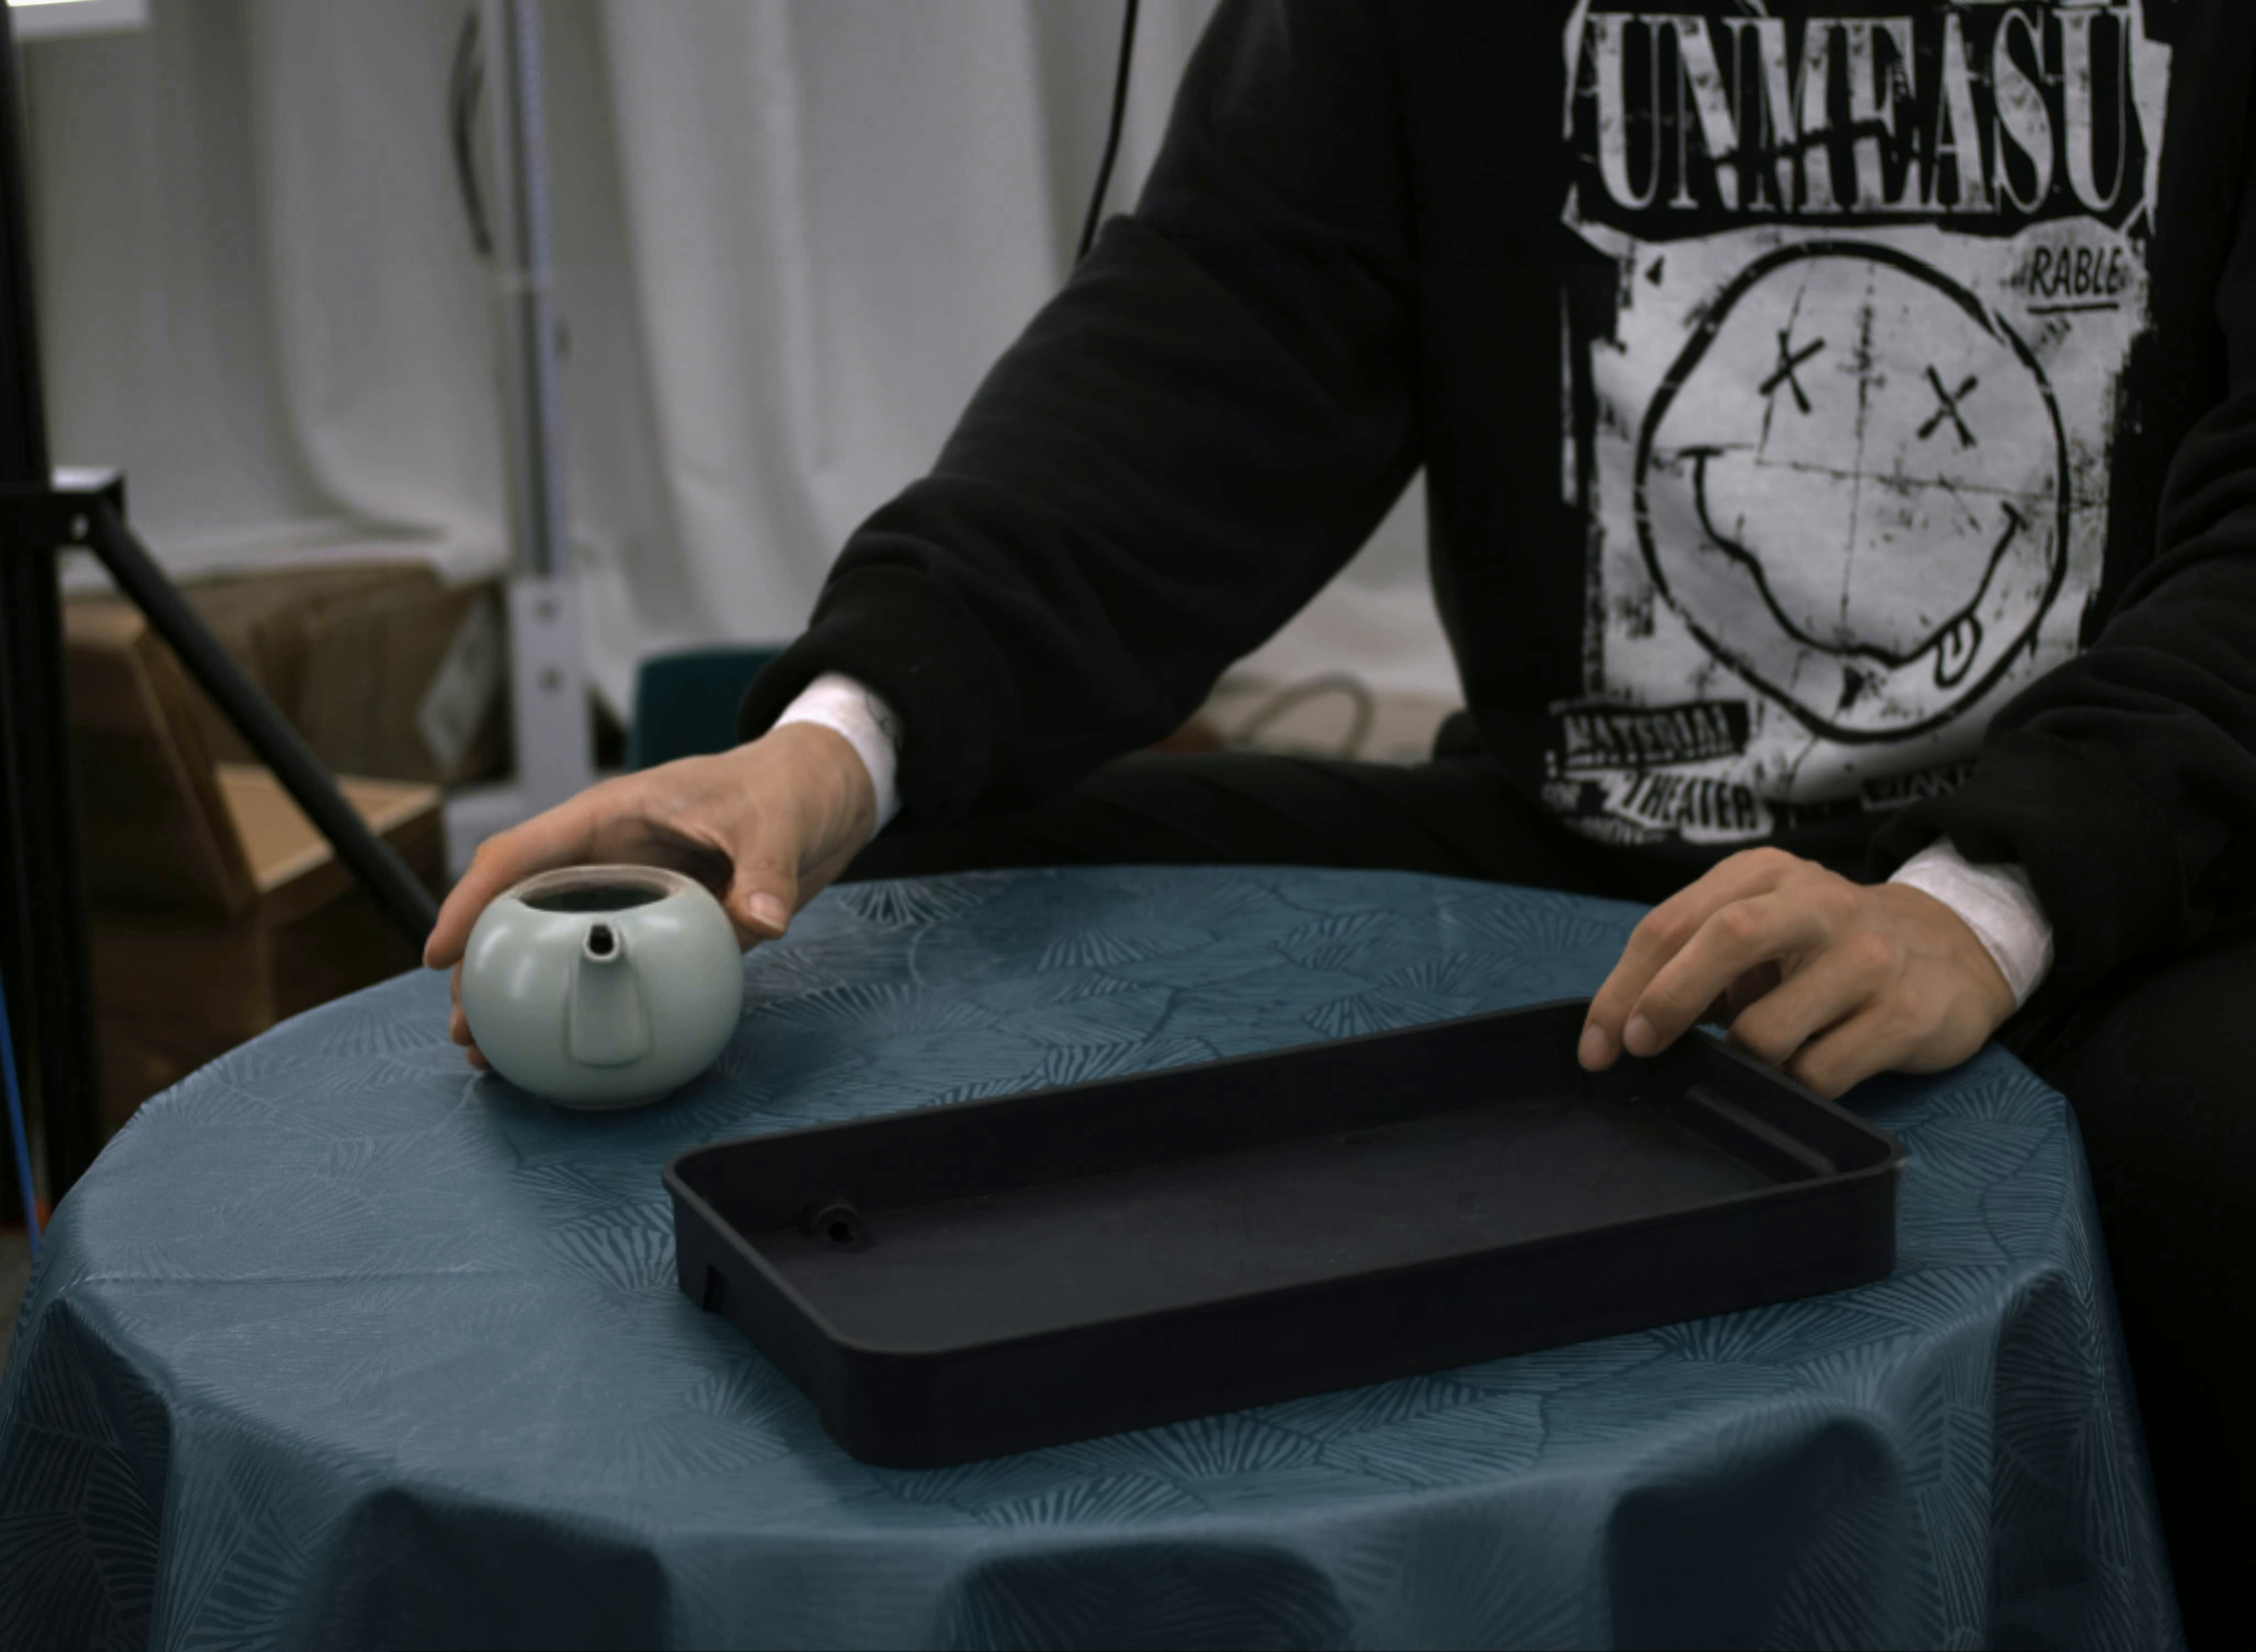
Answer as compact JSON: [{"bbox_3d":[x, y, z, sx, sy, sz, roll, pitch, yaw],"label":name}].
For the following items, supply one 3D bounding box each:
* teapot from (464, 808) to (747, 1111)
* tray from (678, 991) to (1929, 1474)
[{"bbox_3d":[-0.163,0.048,1.662,0.088,0.075,0.145,-3,17,-4],"label":"teapot"},{"bbox_3d":[0.049,0.108,1.480,0.312,0.037,0.188,-9,17,-22],"label":"tray"}]
